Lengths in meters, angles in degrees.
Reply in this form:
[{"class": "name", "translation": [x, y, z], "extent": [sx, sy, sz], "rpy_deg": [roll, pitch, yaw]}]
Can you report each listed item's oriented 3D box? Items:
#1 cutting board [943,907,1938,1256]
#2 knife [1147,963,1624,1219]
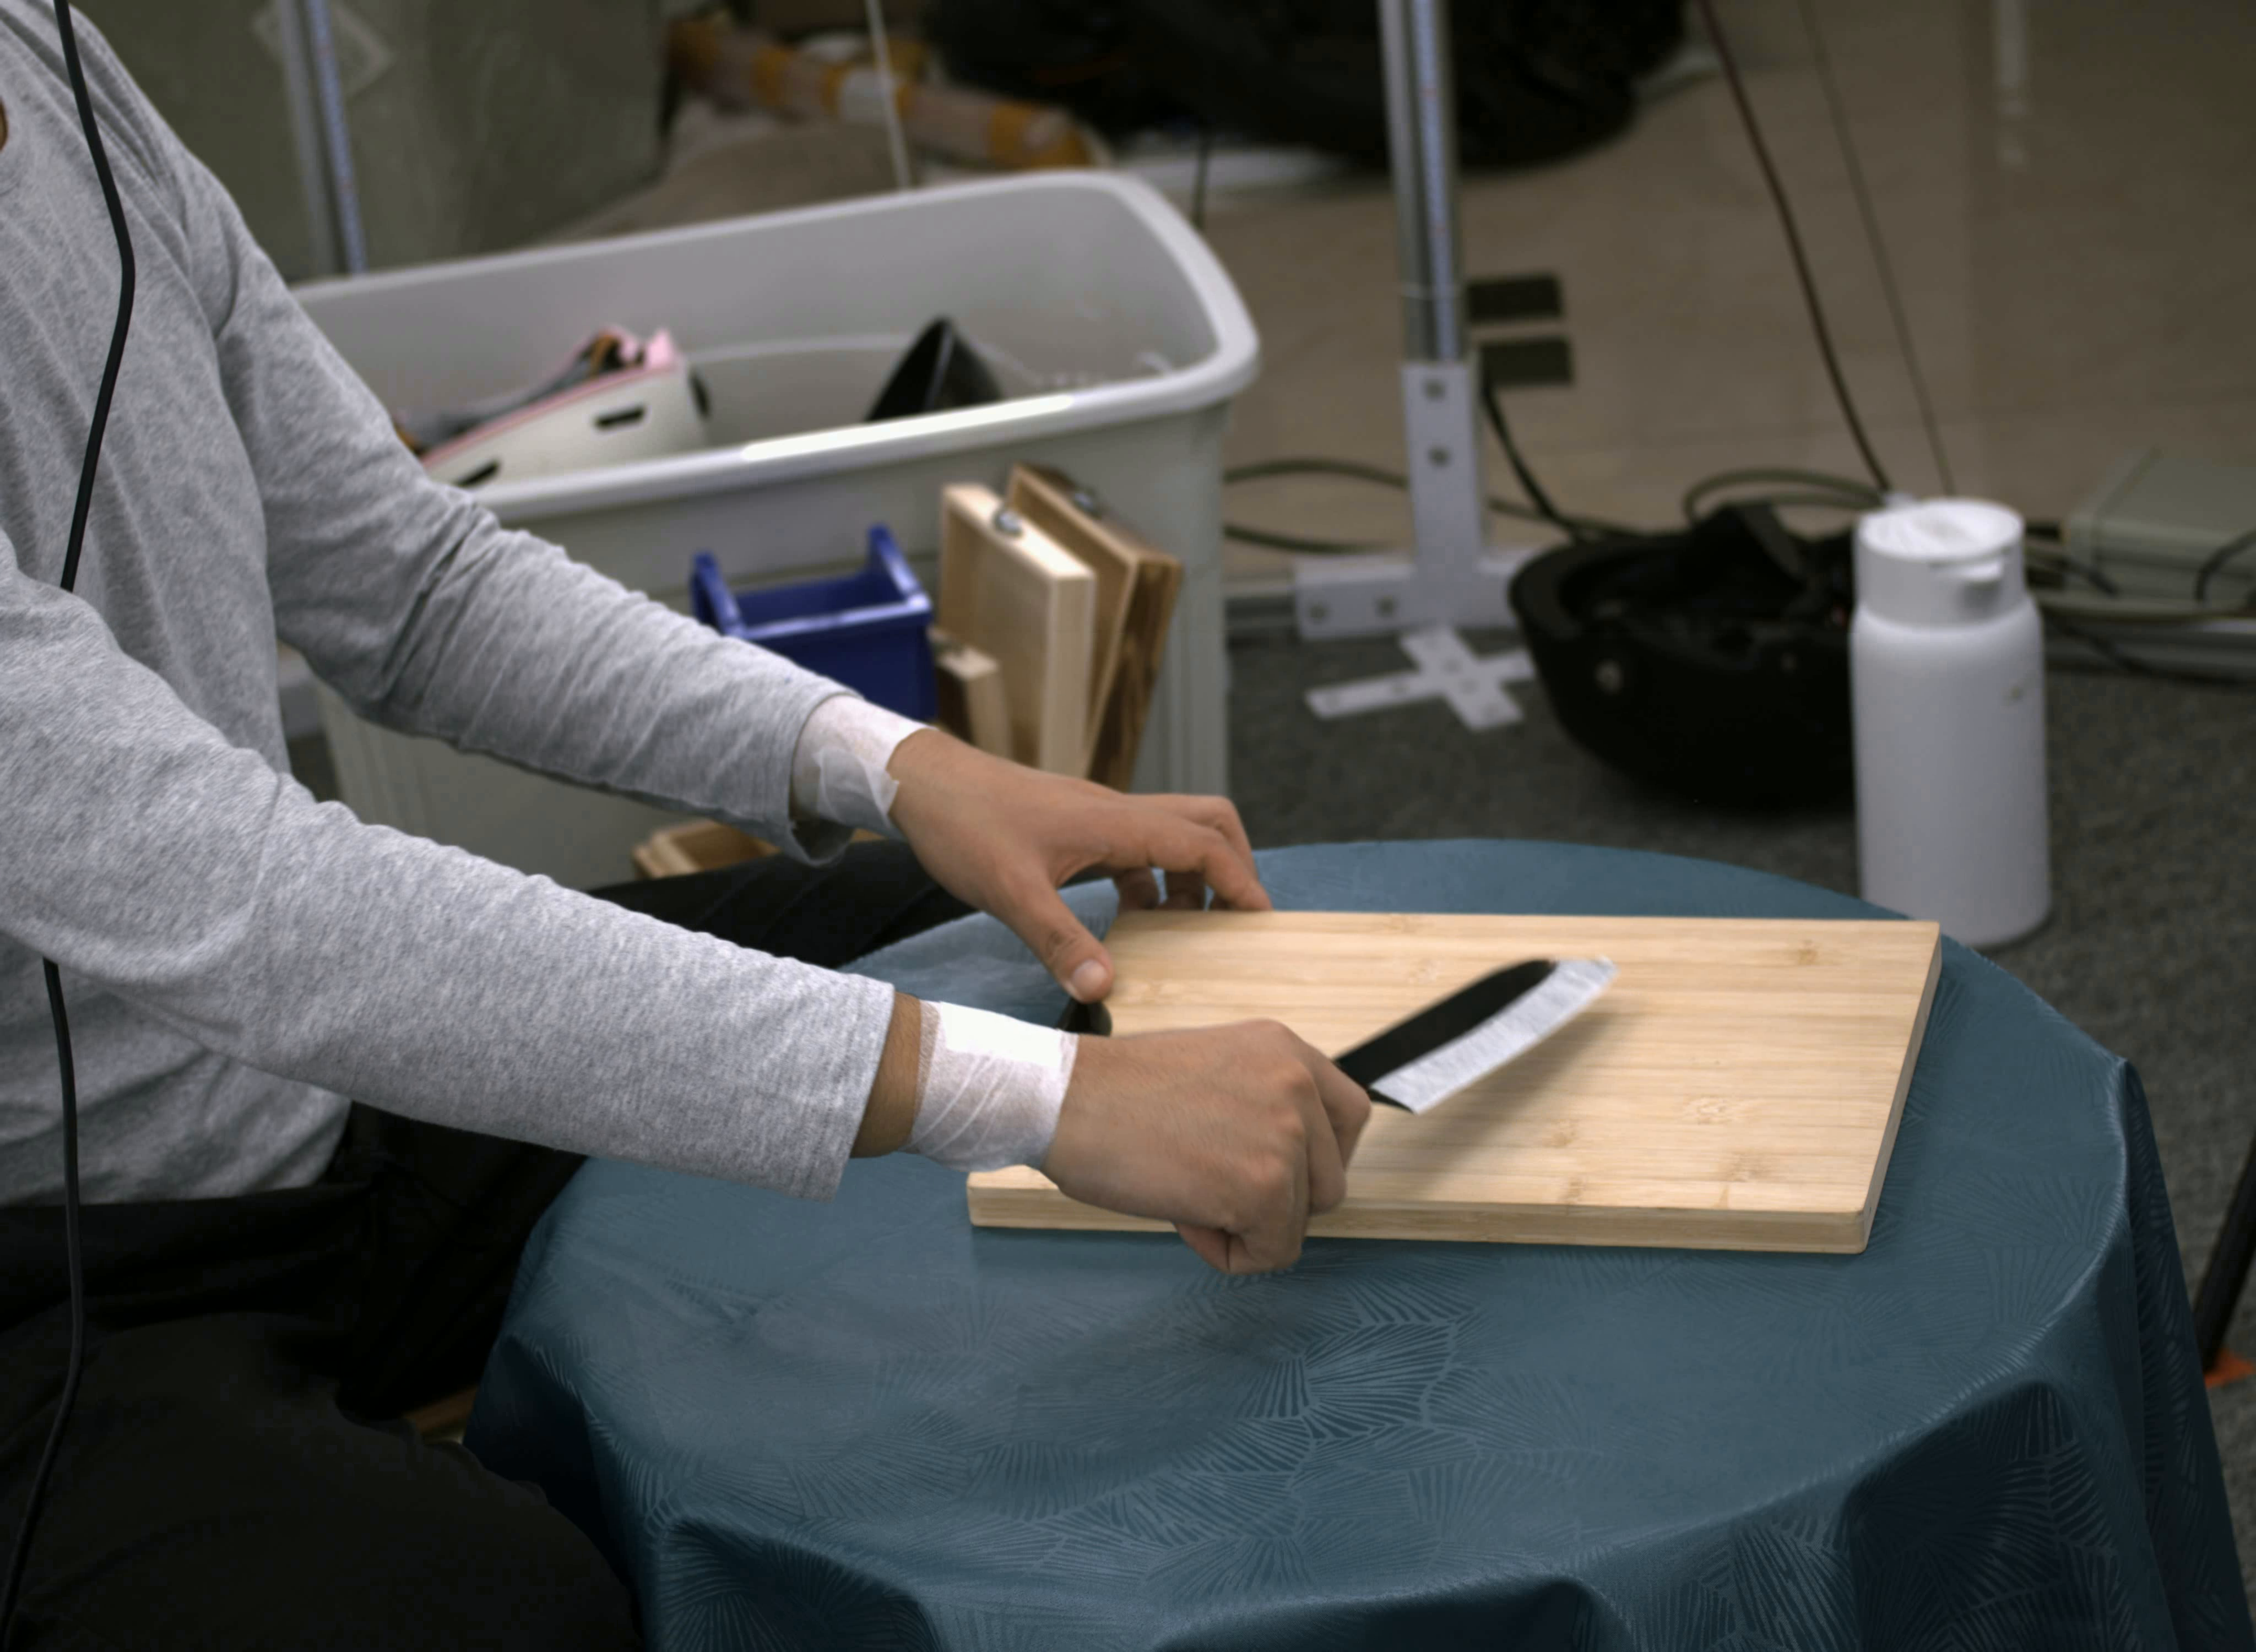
[{"class": "cutting board", "translation": [0.126, 0.095, 2.197], "extent": [0.348, 0.024, 0.247], "rpy_deg": [0, 25, 15]}, {"class": "knife", "translation": [0.101, 0.093, 2.098], "extent": [0.050, 0.020, 0.287], "rpy_deg": [28, 31, 30]}]
